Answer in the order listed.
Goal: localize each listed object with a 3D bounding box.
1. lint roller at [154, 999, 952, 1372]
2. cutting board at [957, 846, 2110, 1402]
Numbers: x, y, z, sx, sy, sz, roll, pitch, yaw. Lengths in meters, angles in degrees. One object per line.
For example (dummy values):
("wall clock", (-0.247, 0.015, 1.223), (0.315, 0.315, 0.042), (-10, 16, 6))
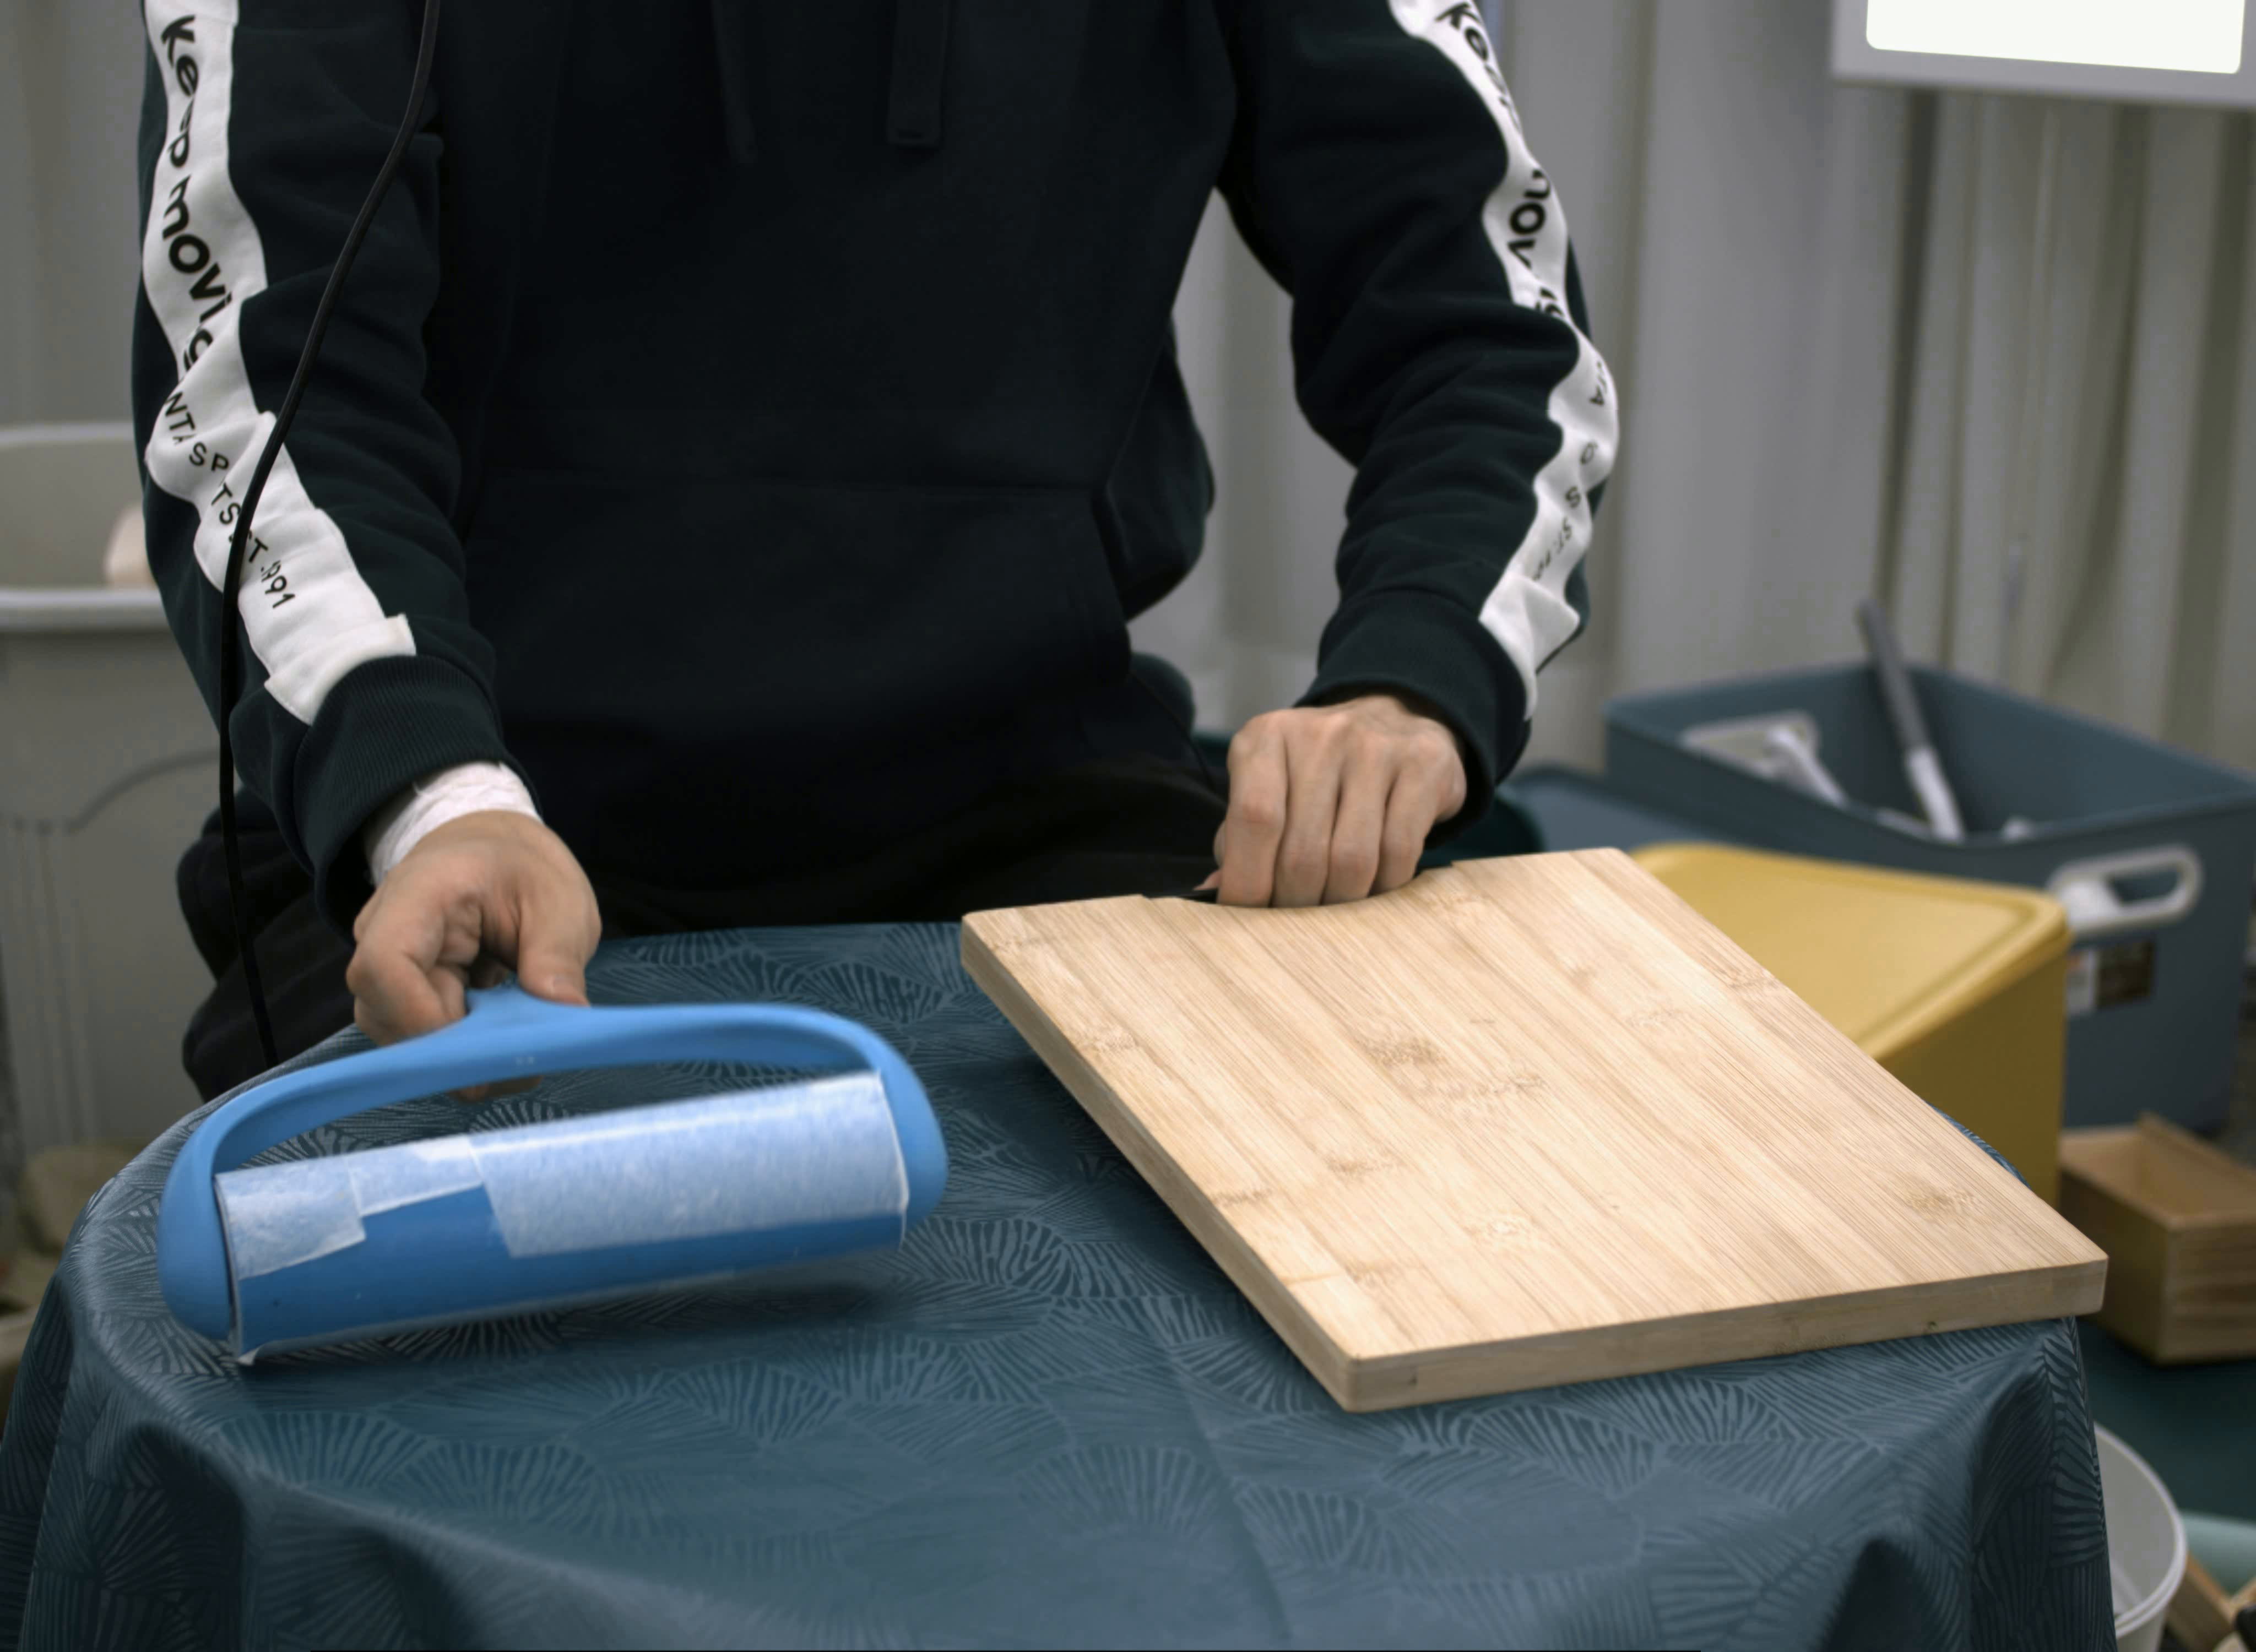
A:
("lint roller", (-0.181, 0.085, 1.541), (0.229, 0.068, 0.178), (-10, 30, -17))
("cutting board", (0.113, 0.085, 1.632), (0.251, 0.024, 0.344), (-5, 22, -21))
